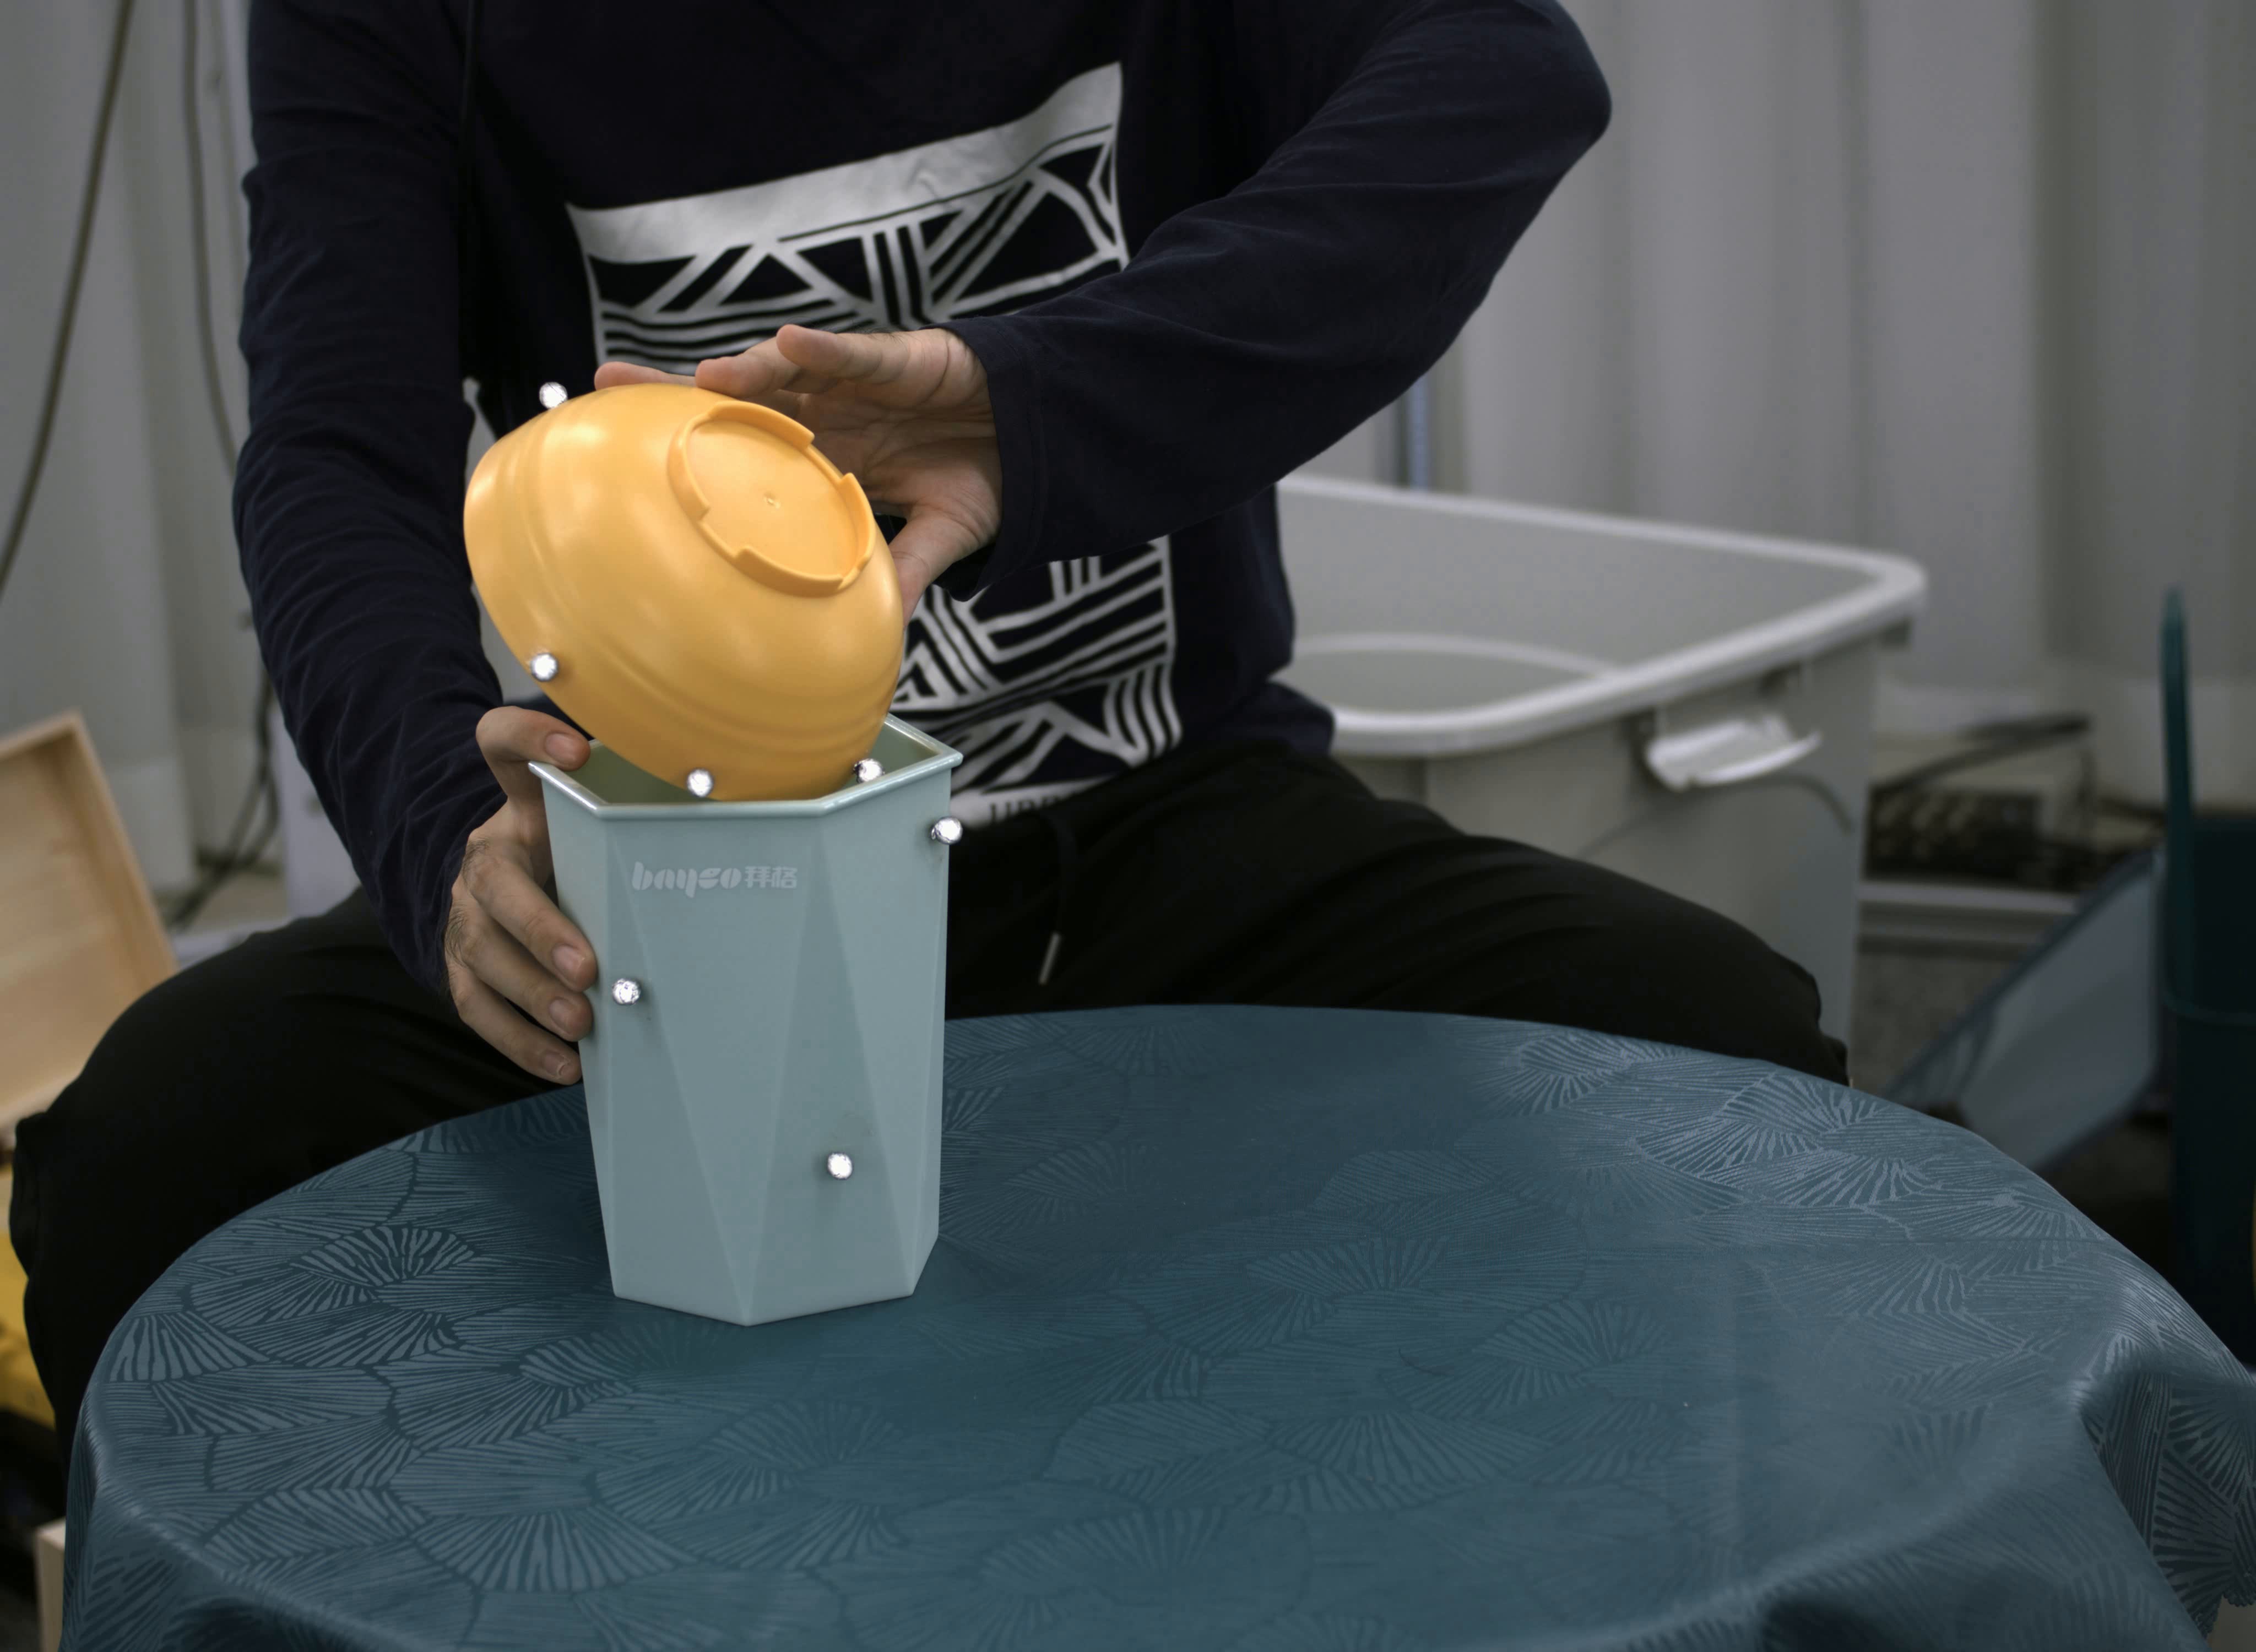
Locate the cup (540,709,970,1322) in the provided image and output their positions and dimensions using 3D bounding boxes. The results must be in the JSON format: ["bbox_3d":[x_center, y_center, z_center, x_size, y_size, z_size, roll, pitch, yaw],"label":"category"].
[{"bbox_3d":[-0.108,0.055,1.642,0.131,0.162,0.116,-1,13,6],"label":"cup"}]

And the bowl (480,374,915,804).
[{"bbox_3d":[-0.113,-0.082,1.601,0.145,0.146,0.060,-22,-18,-51],"label":"bowl"}]
